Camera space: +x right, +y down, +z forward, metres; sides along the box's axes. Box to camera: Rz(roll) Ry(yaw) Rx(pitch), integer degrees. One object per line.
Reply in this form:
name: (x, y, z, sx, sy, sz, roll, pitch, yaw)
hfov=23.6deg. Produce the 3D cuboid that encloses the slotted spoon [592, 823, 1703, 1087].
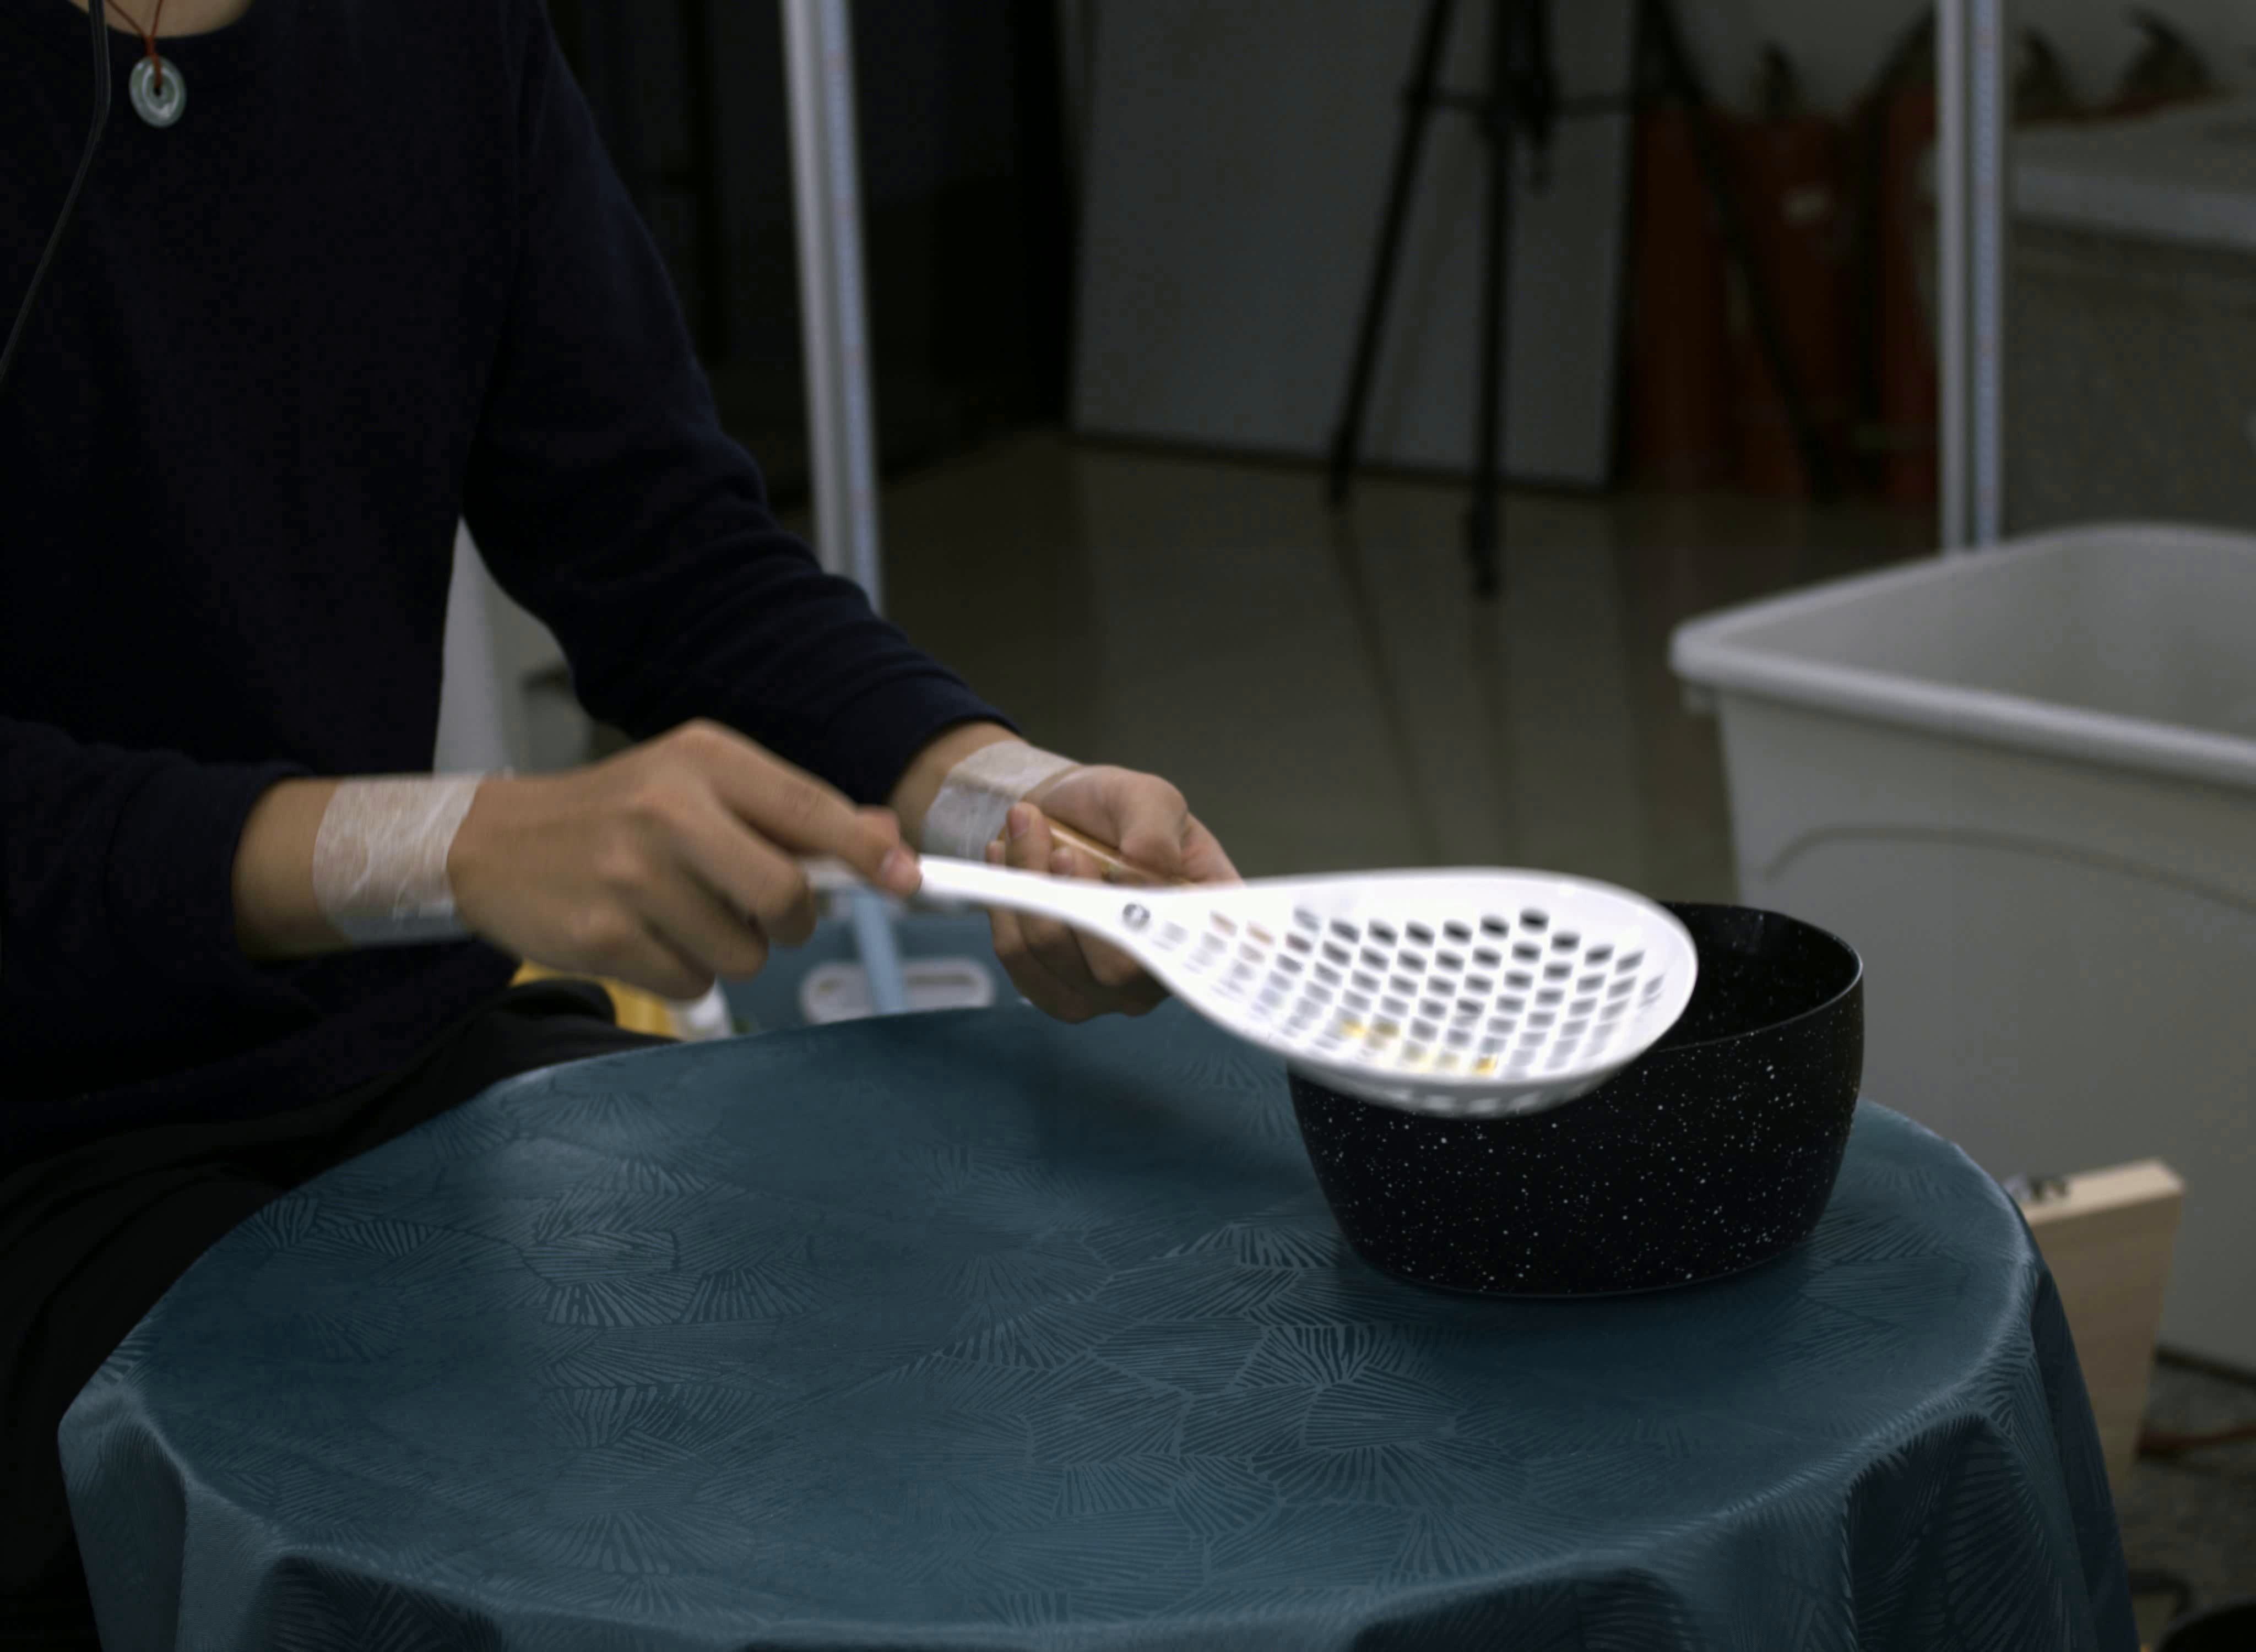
slotted spoon: (0.000, 0.027, 1.610, 0.347, 0.051, 0.136, 12, 30, 19)

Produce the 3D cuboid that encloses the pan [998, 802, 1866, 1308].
pan: (0.083, 0.066, 1.743, 0.346, 0.109, 0.203, 9, 20, 43)
